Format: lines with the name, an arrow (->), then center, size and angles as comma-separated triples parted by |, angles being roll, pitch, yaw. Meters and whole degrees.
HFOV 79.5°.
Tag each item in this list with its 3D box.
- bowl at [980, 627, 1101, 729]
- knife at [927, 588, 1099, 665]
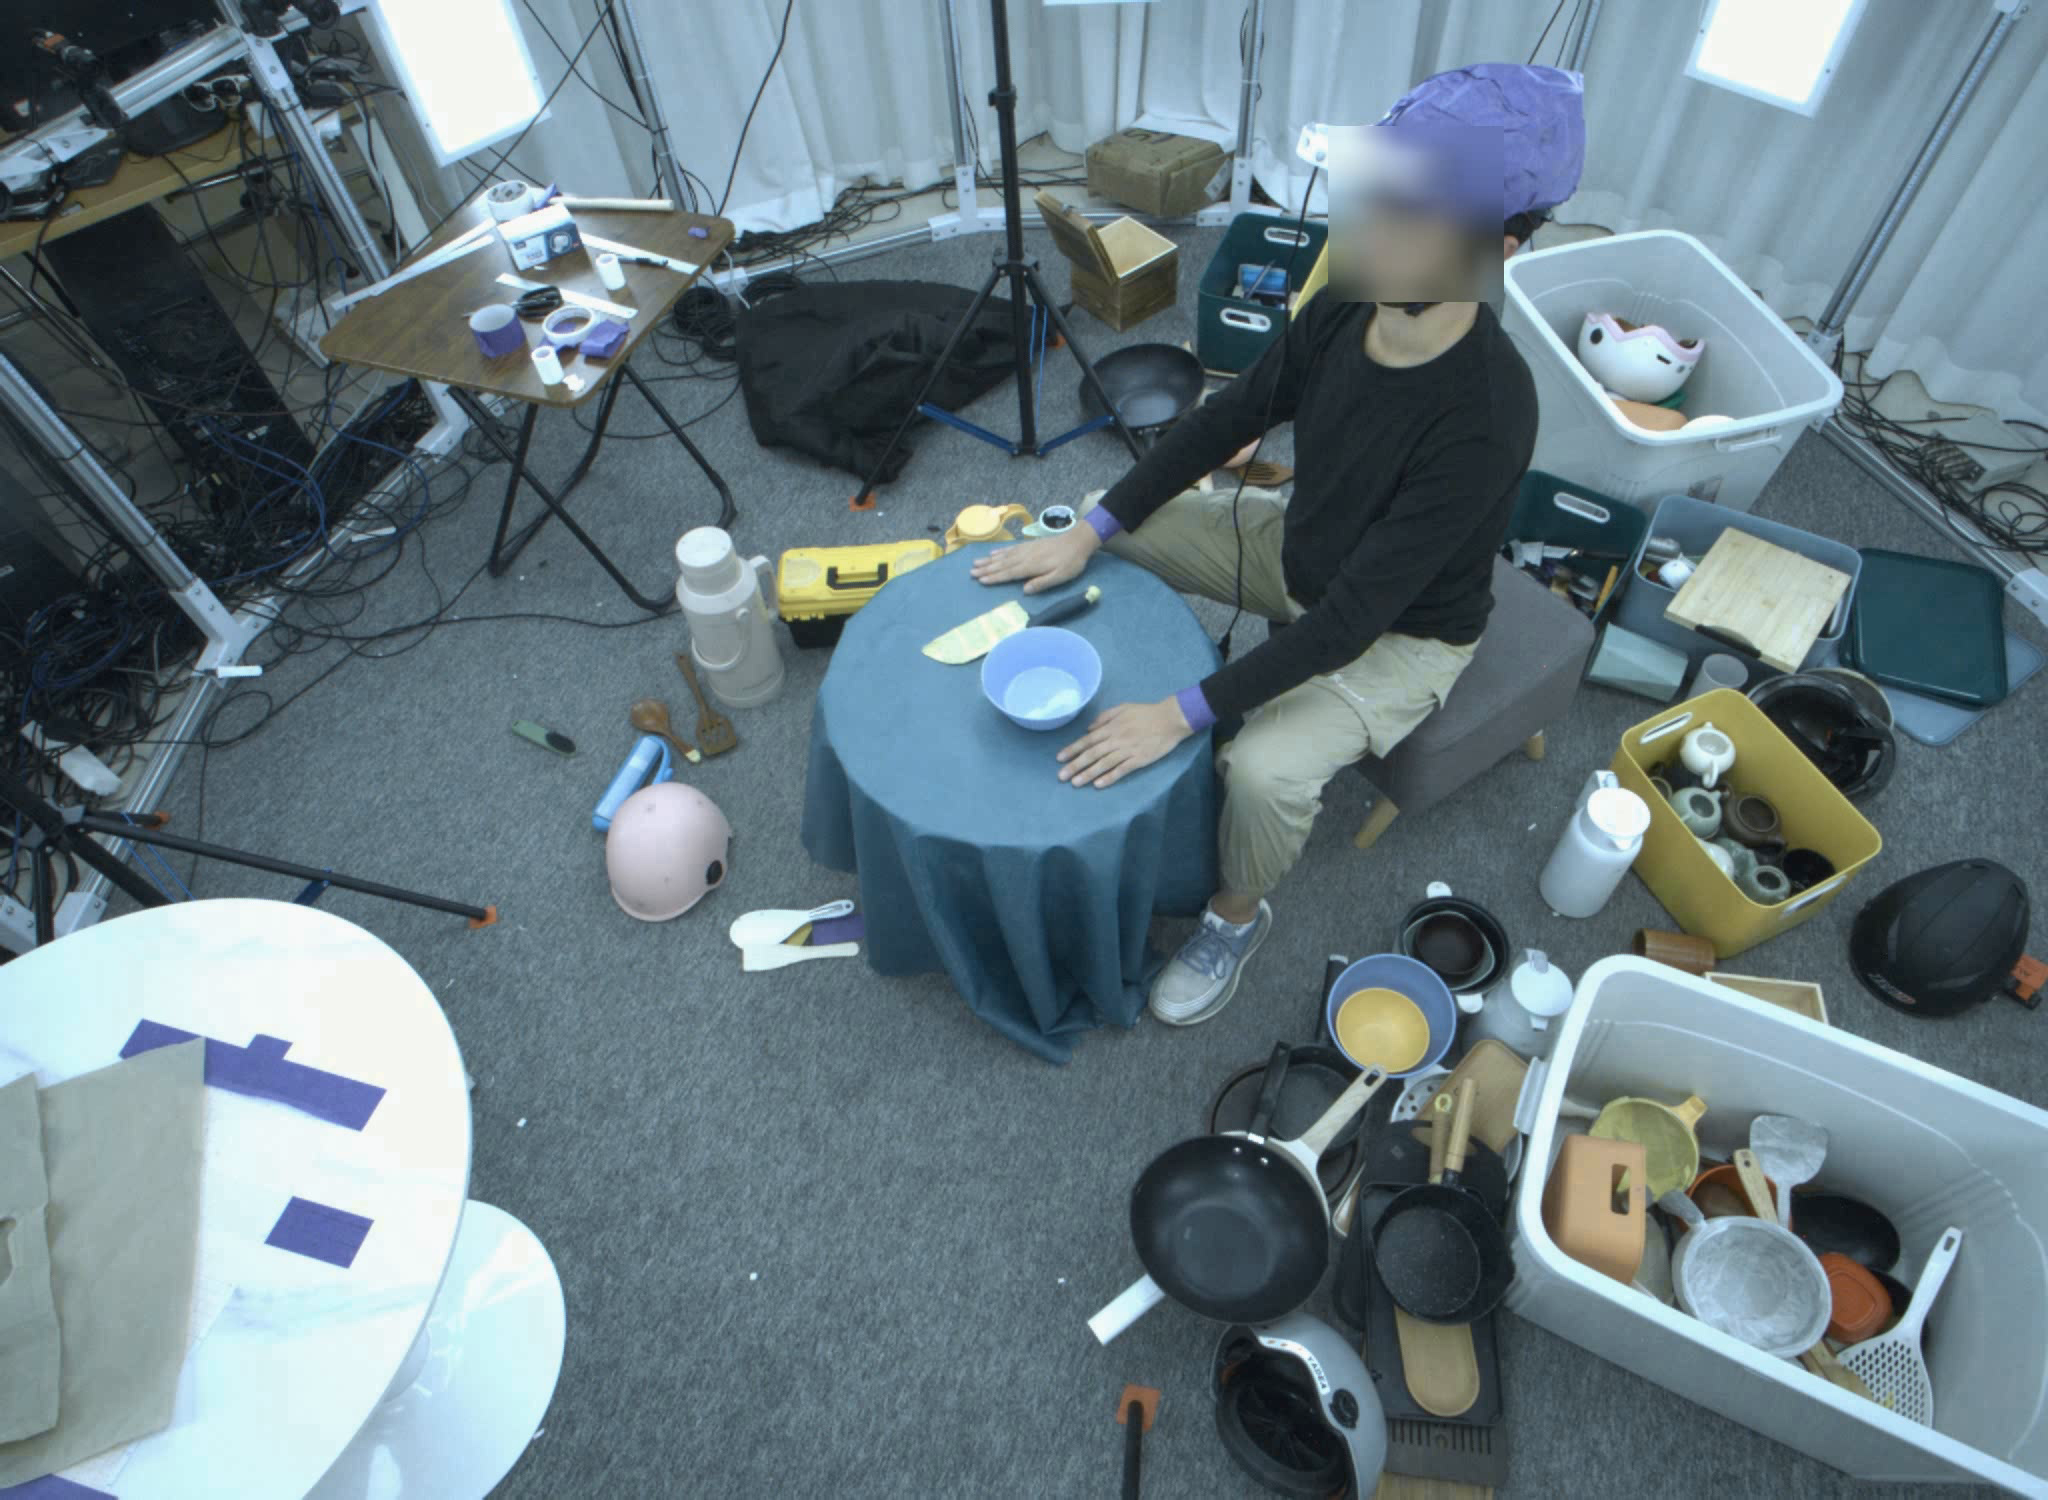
bowl -> 0.025, -0.095, 1.808 | 0.176, 0.071, 0.174 | -1, 54, 2
knife -> -0.019, -0.200, 1.919 | 0.291, 0.027, 0.079 | -23, 58, -13
